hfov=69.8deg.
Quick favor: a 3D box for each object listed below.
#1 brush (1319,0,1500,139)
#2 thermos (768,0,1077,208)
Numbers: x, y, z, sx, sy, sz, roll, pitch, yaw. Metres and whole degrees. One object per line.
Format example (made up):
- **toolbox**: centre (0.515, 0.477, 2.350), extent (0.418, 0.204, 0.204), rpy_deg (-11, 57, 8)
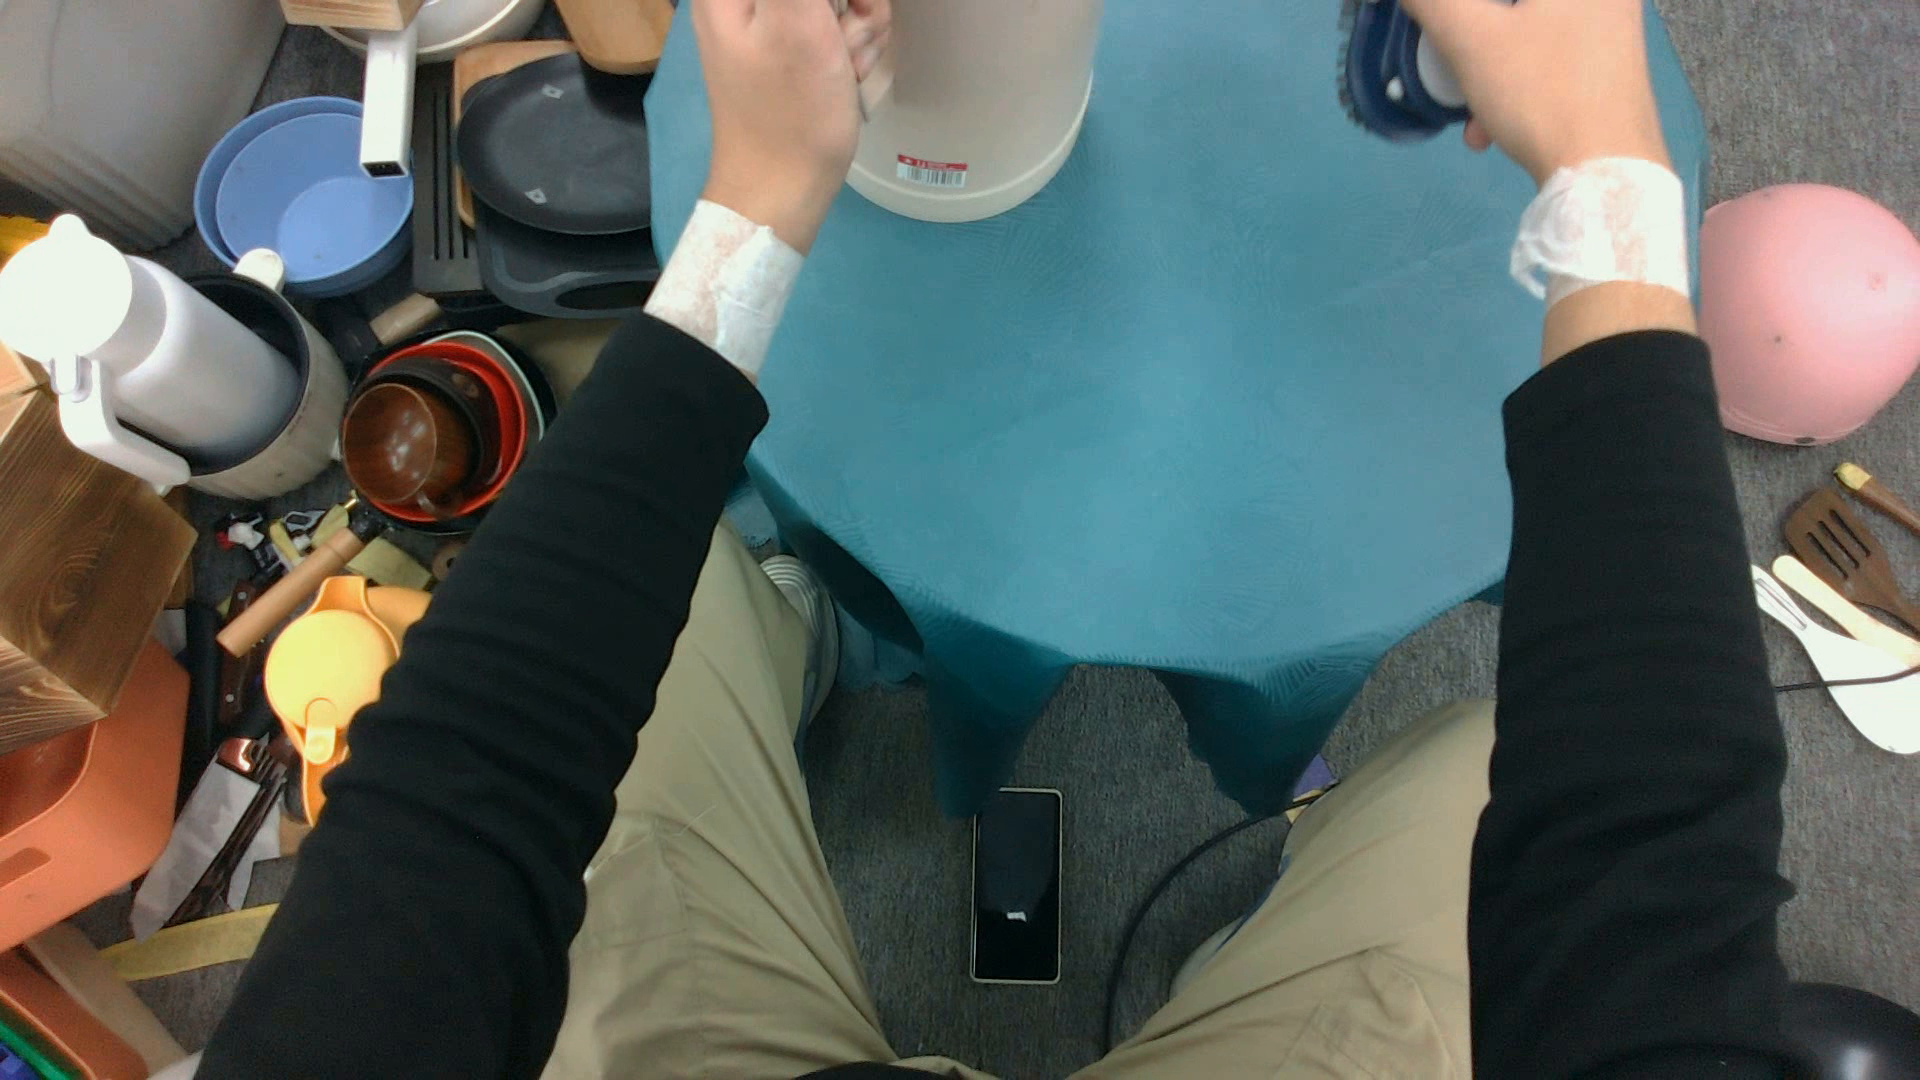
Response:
- **brush**: centre (0.207, -0.245, 0.633), extent (0.068, 0.061, 0.121), rpy_deg (15, 92, -20)
- **thermos**: centre (-0.021, -0.289, 0.589), extent (0.175, 0.405, 0.207), rpy_deg (28, 78, 2)
